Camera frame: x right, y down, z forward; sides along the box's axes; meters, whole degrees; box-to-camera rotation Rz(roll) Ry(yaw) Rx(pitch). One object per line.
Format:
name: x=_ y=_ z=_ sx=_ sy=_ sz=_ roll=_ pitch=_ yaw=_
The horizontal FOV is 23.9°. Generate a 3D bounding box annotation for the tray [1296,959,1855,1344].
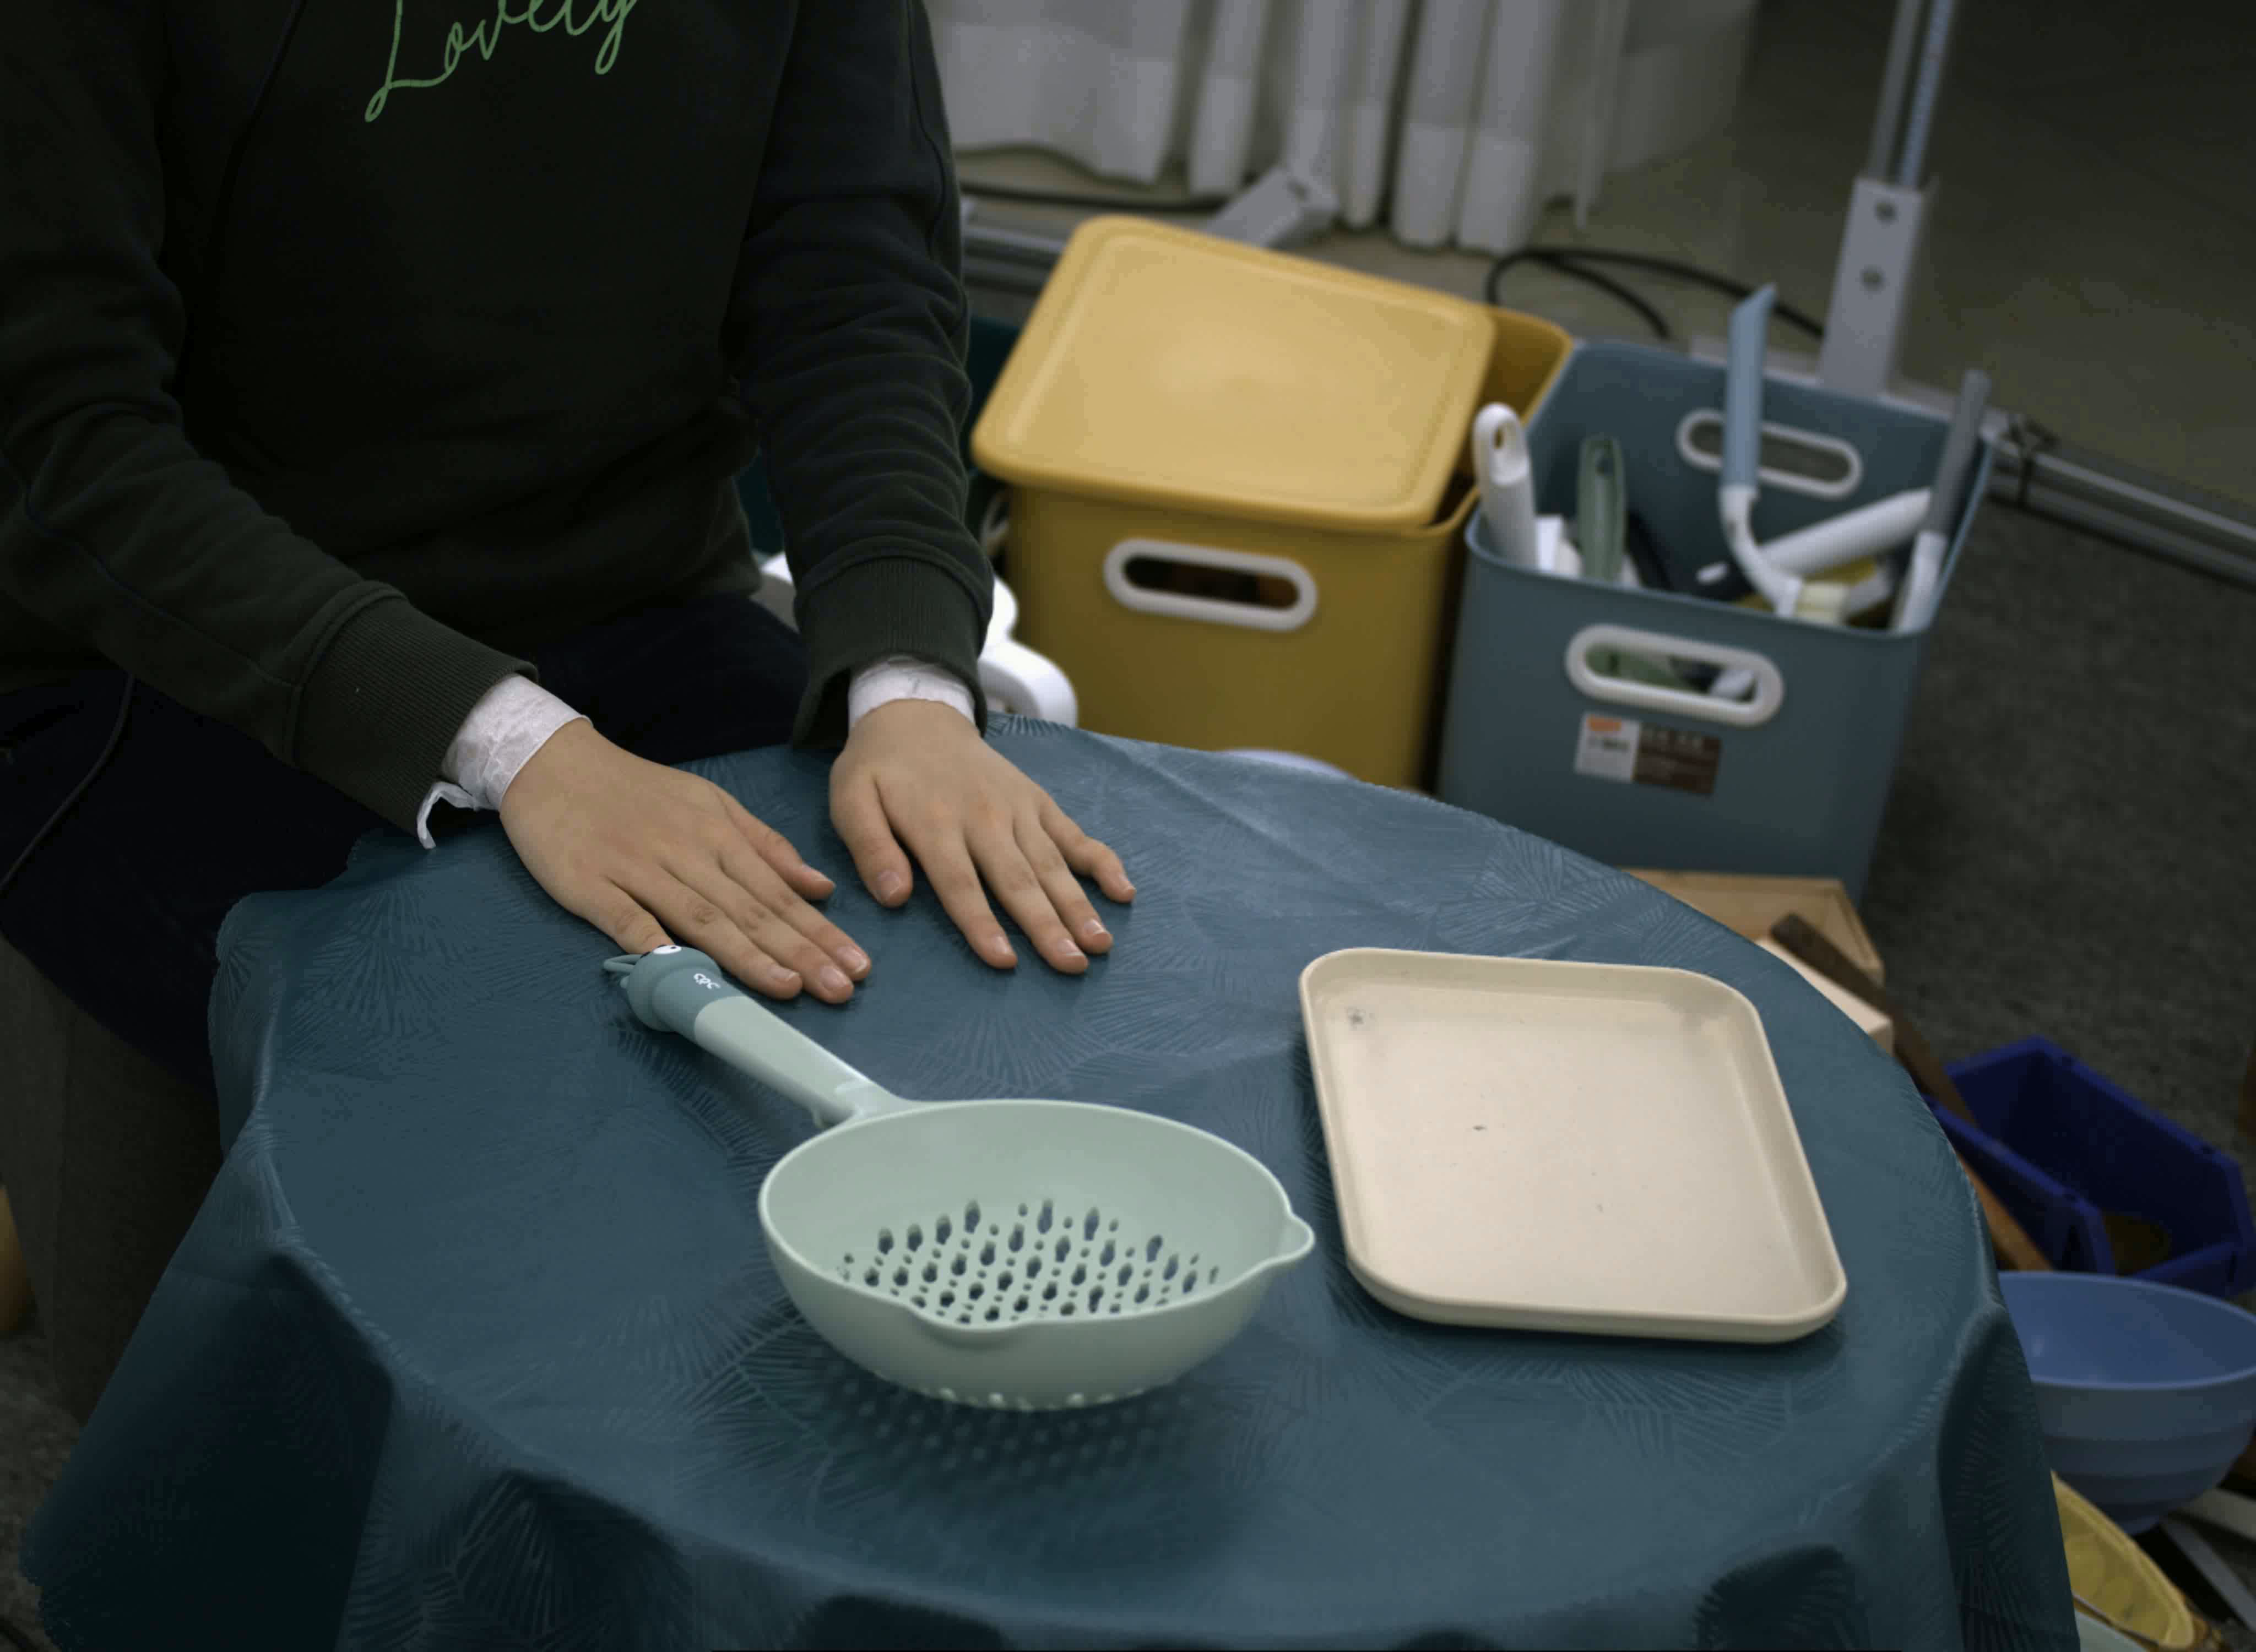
tray: x=0.150 y=0.112 z=1.840 sx=0.170 sy=0.017 sz=0.241 roll=4 pitch=26 yaw=-6

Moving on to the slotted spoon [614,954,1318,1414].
slotted spoon: x=-0.084 y=0.102 z=1.755 sx=0.168 sy=0.075 sz=0.362 roll=-9 pitch=30 yaw=-30
